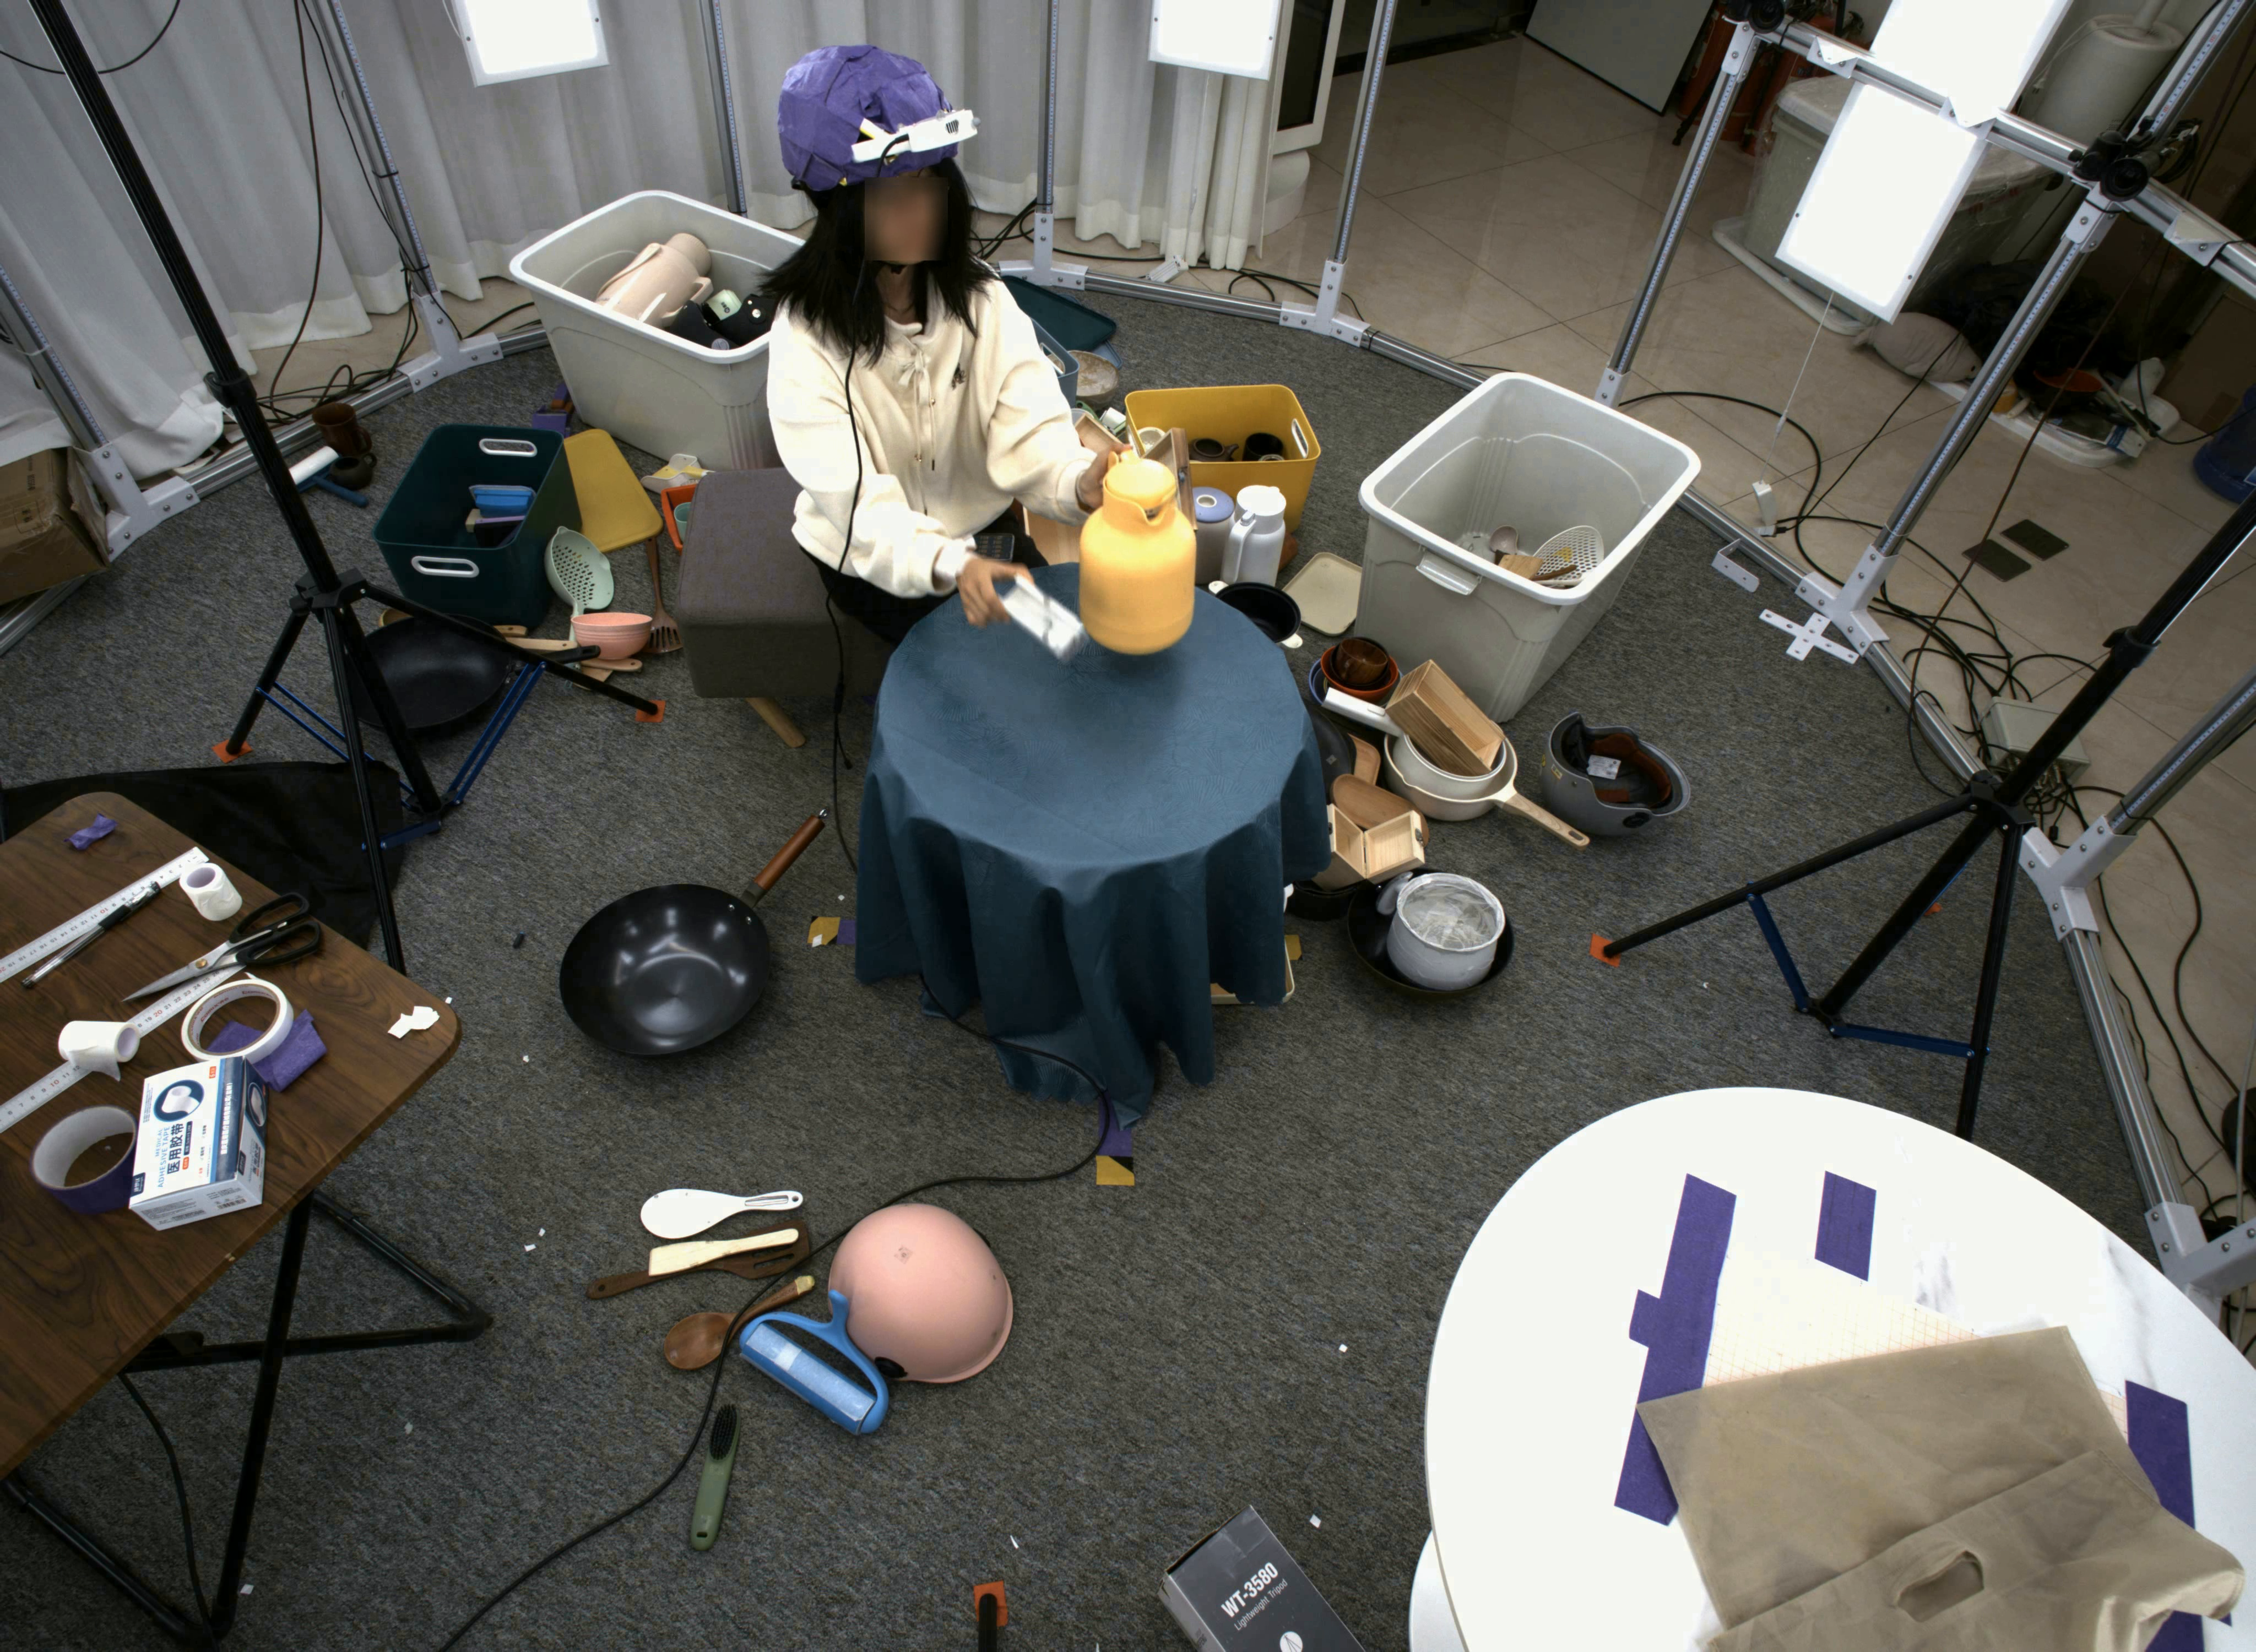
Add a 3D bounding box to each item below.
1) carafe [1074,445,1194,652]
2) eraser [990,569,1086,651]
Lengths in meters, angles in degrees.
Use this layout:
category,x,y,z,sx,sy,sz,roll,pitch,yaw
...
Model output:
category,x,y,z,sx,sy,sz,roll,pitch,yaw
carafe,0.006,-0.392,1.784,0.163,0.254,0.207,-7,47,-12
eraser,-0.117,-0.284,1.687,0.136,0.045,0.050,37,86,36
